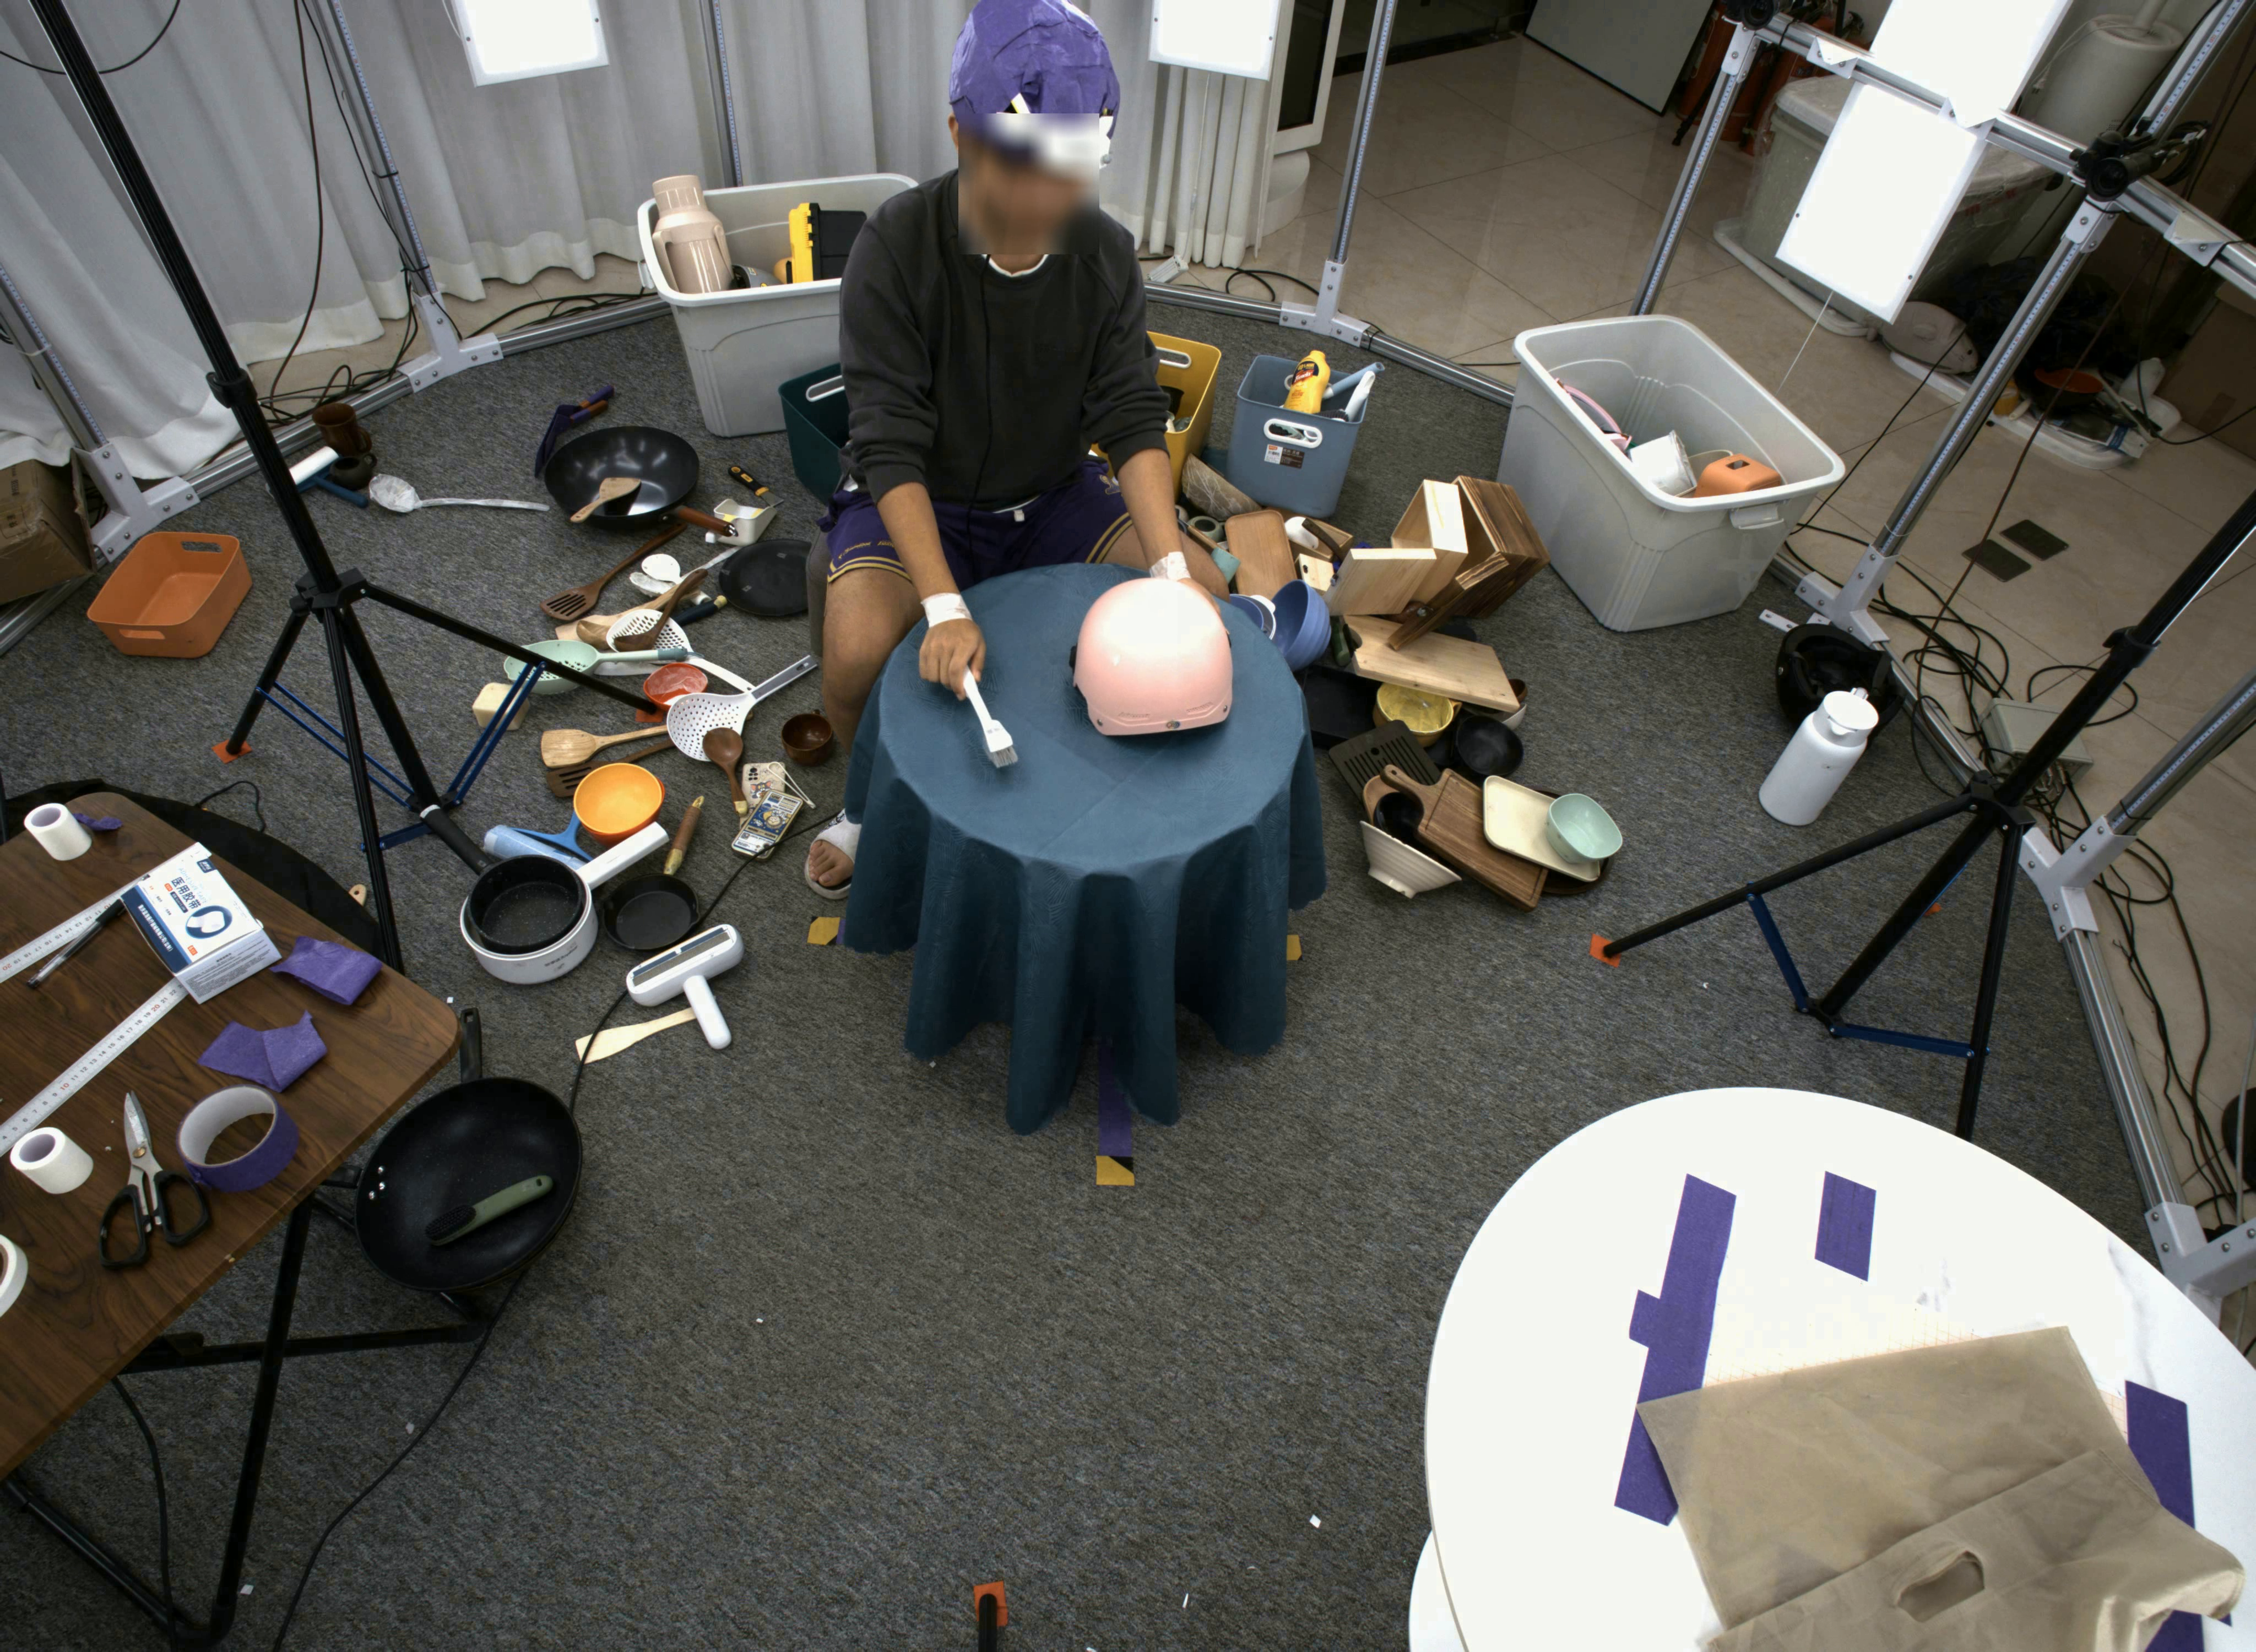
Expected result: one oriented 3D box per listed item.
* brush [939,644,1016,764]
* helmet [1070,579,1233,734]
[{"bbox_3d":[-0.208,-0.167,1.757,0.034,0.049,0.249,-22,46,-11],"label":"brush"},{"bbox_3d":[0.033,-0.259,1.787,0.234,0.155,0.273,-8,46,-4],"label":"helmet"}]
